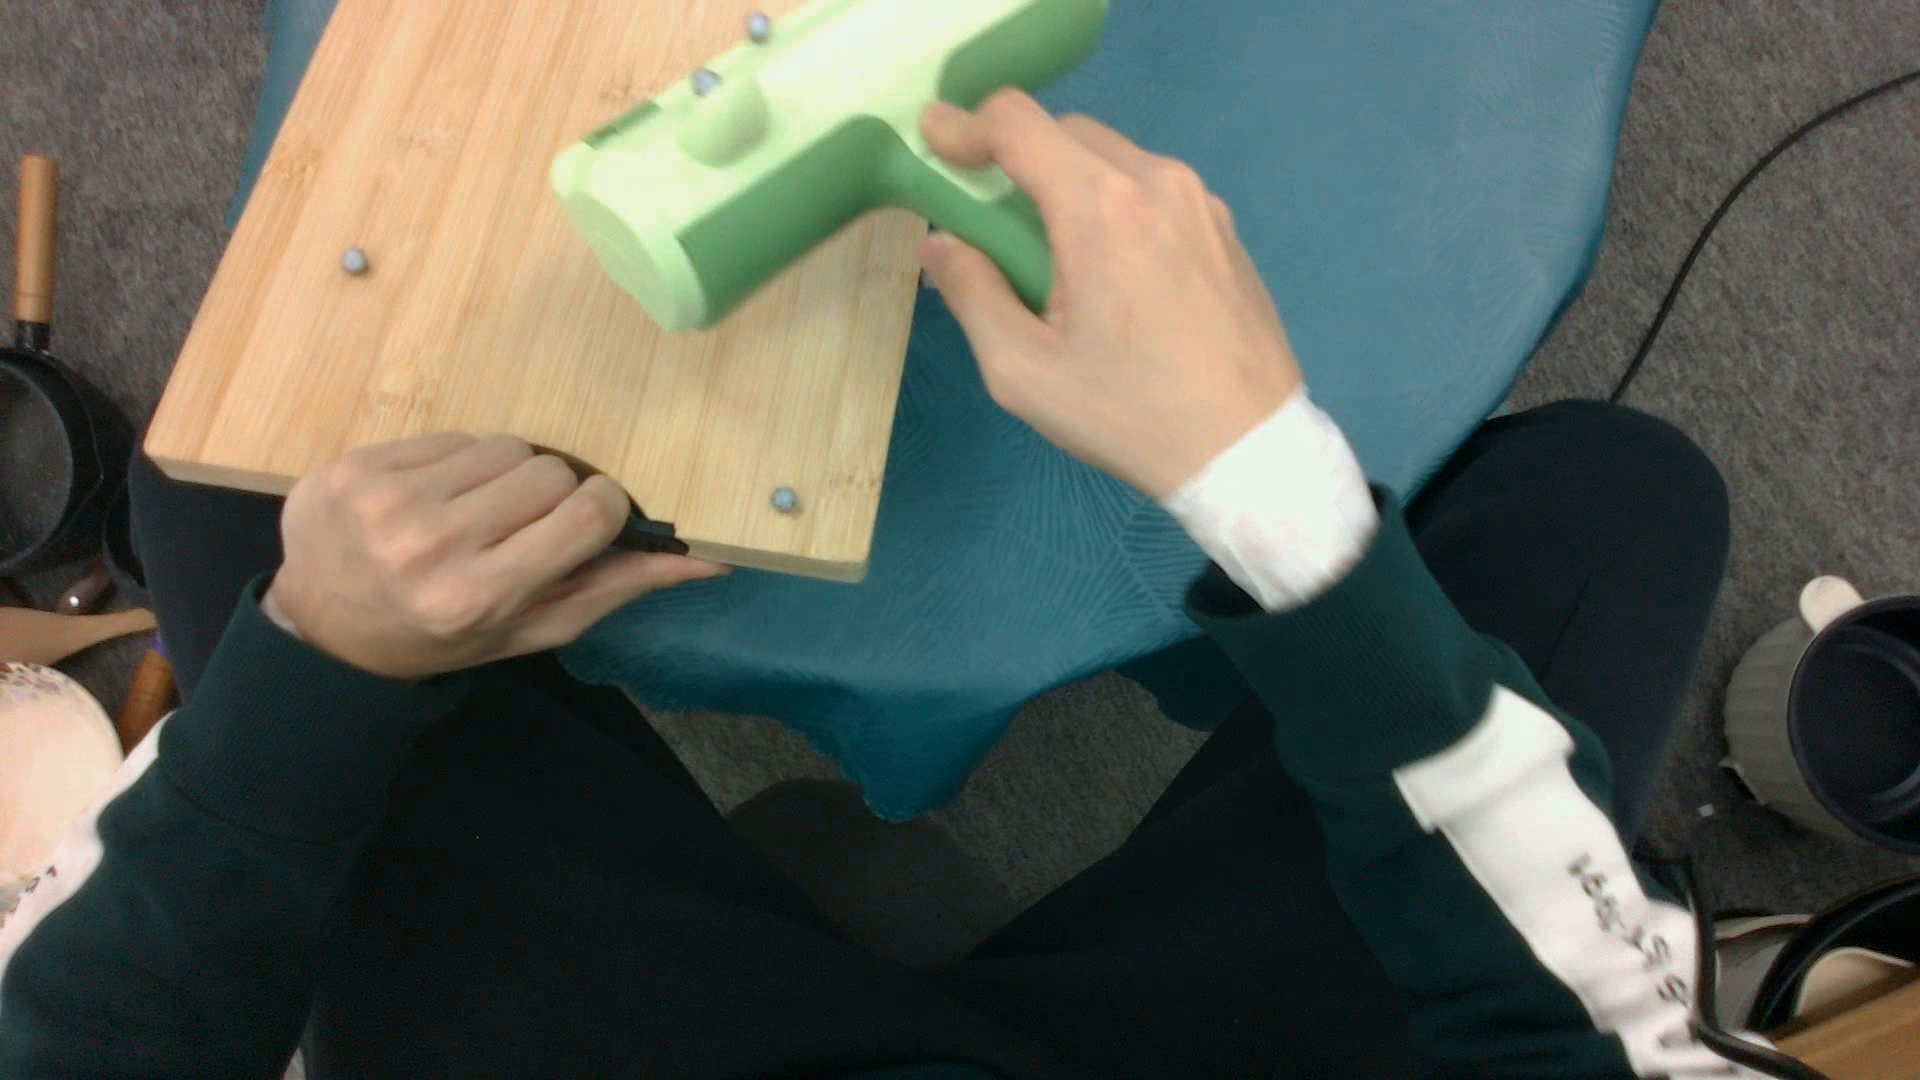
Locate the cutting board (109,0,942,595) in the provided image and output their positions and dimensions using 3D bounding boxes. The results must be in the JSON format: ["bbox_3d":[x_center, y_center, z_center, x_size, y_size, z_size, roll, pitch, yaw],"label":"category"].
[{"bbox_3d":[-0.139,-0.154,0.533,0.251,0.023,0.350,7,65,-3],"label":"cutting board"}]

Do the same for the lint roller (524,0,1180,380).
[{"bbox_3d":[-0.003,-0.121,0.425,0.183,0.082,0.199,36,63,21],"label":"lint roller"}]
